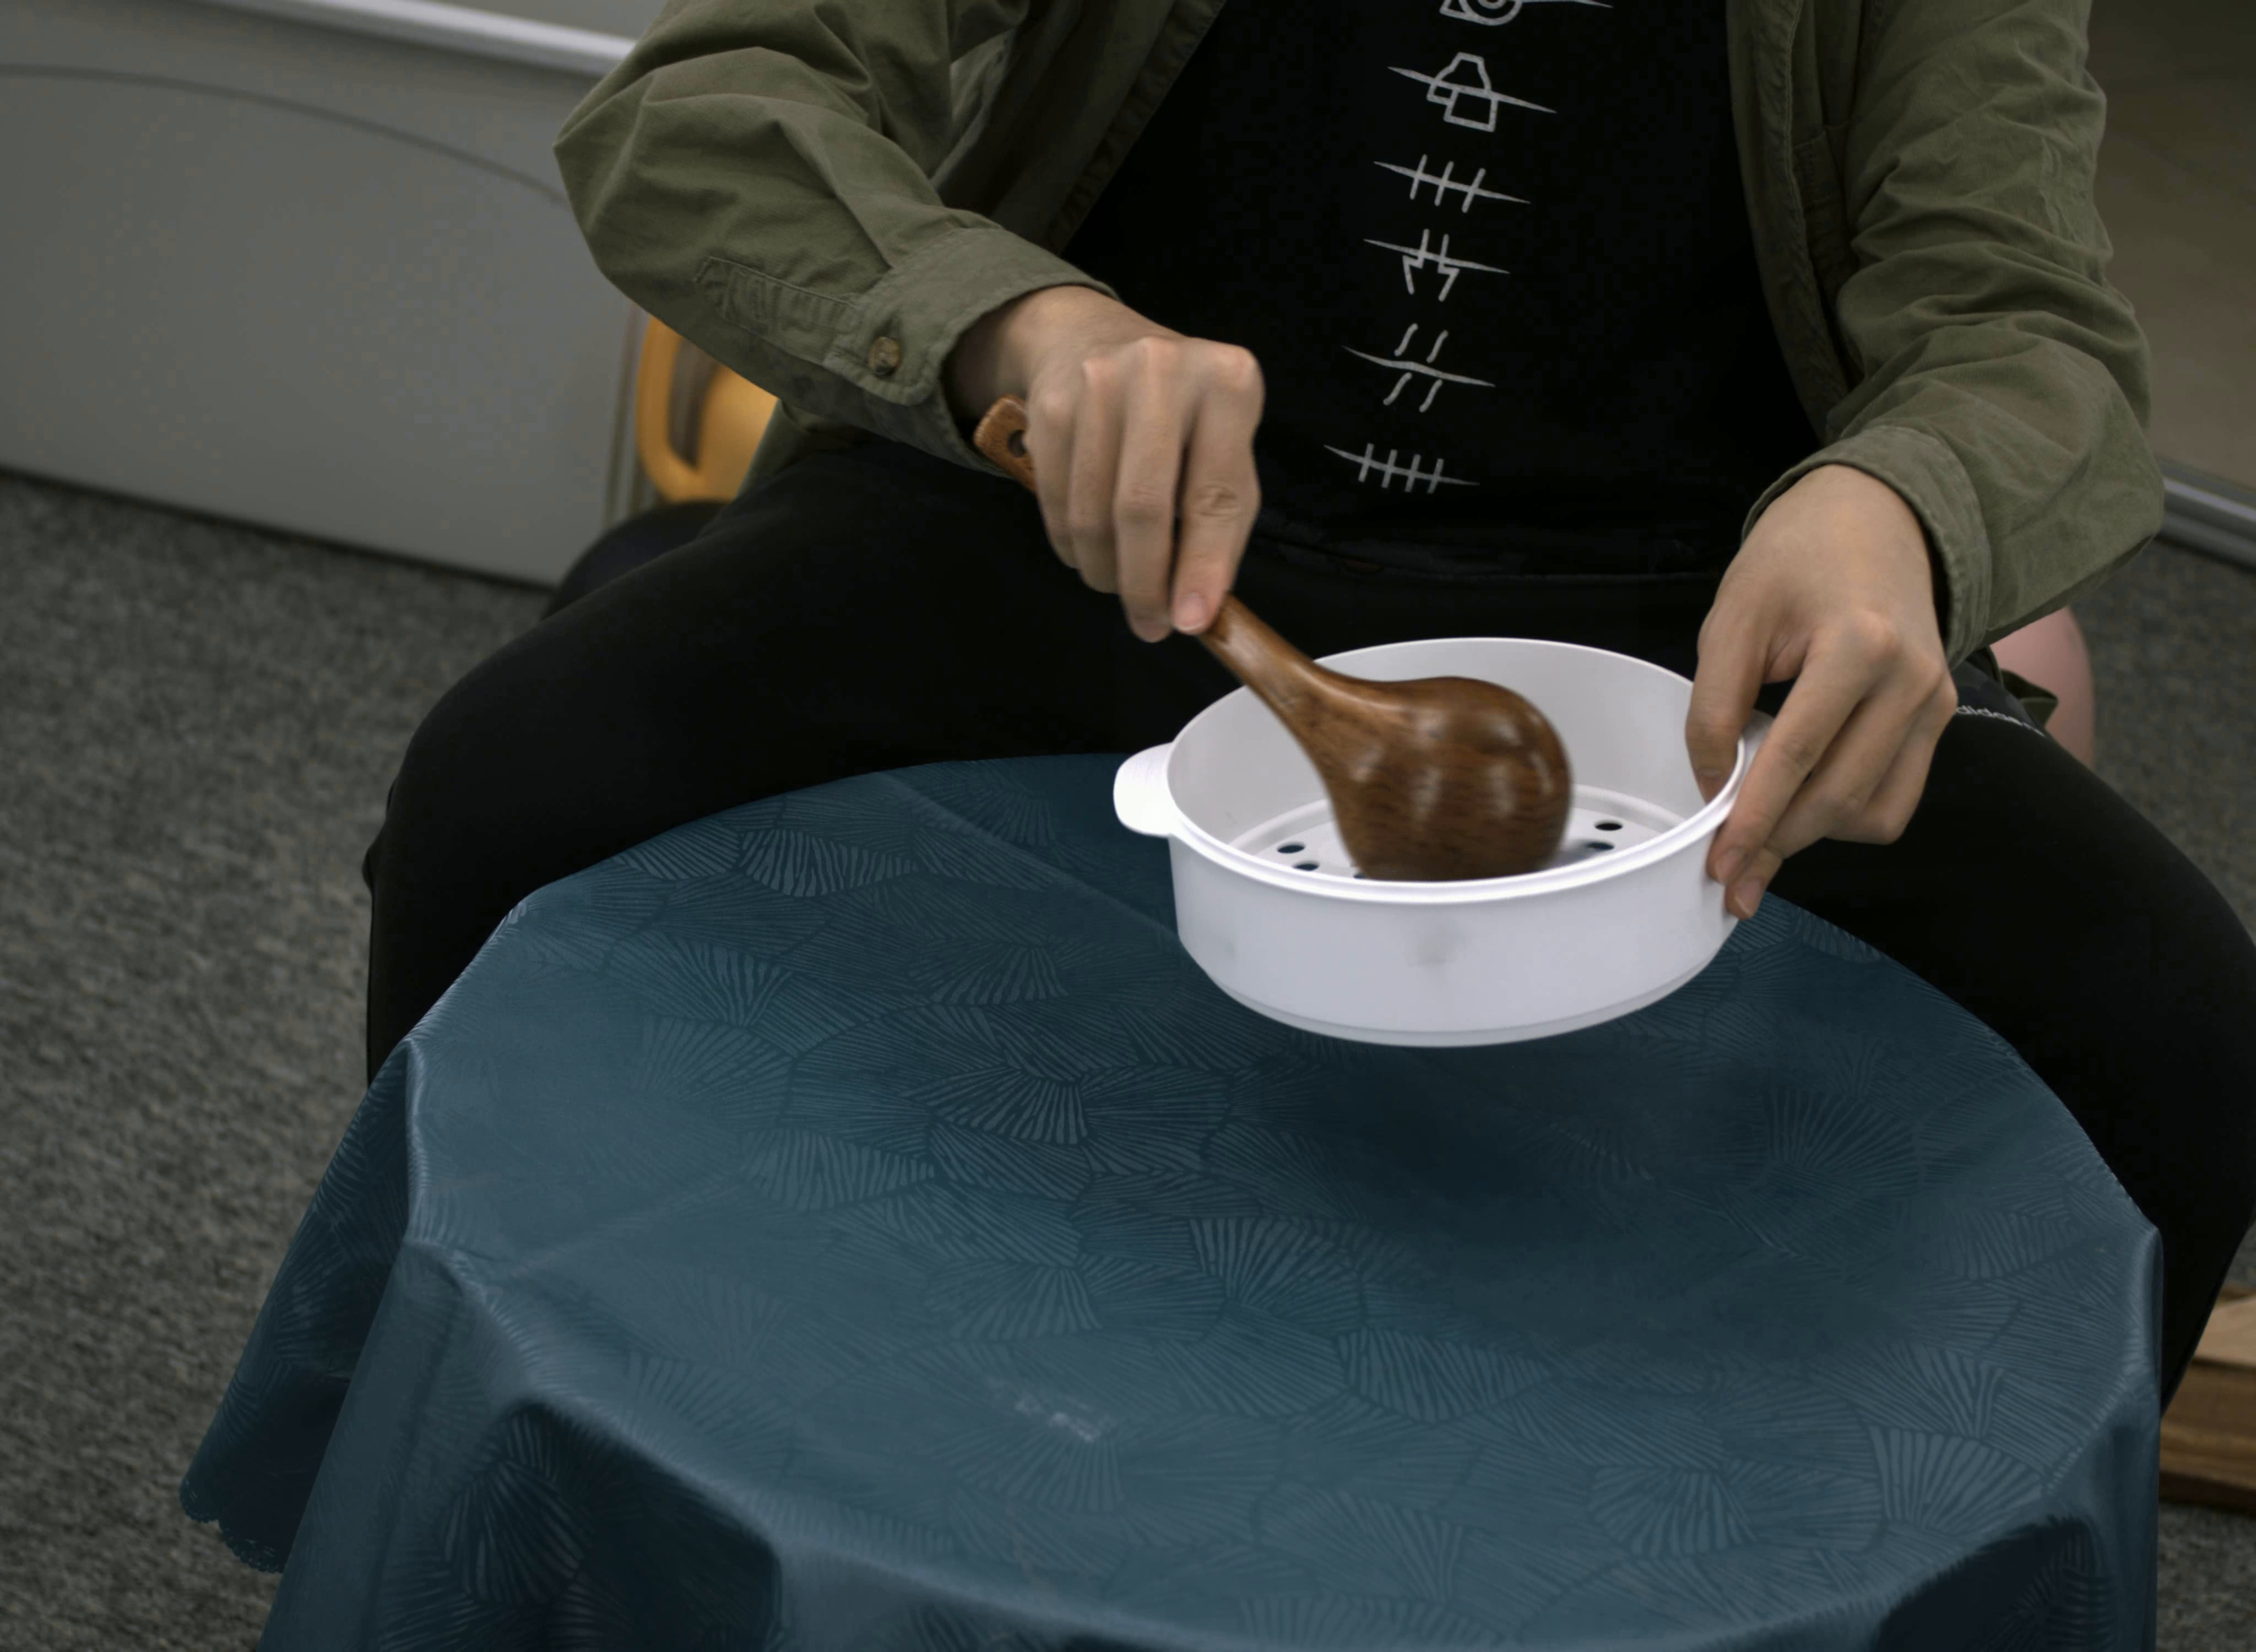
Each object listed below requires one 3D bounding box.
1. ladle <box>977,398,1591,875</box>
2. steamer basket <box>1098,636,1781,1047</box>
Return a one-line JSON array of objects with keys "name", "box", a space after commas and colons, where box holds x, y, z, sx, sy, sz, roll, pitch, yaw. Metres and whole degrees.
[{"name": "ladle", "box": [0.053, -0.068, 1.826, 0.076, 0.082, 0.276, 24, 14, -49]}, {"name": "steamer basket", "box": [0.106, 0.006, 1.807, 0.230, 0.069, 0.203, -3, 25, 2]}]
